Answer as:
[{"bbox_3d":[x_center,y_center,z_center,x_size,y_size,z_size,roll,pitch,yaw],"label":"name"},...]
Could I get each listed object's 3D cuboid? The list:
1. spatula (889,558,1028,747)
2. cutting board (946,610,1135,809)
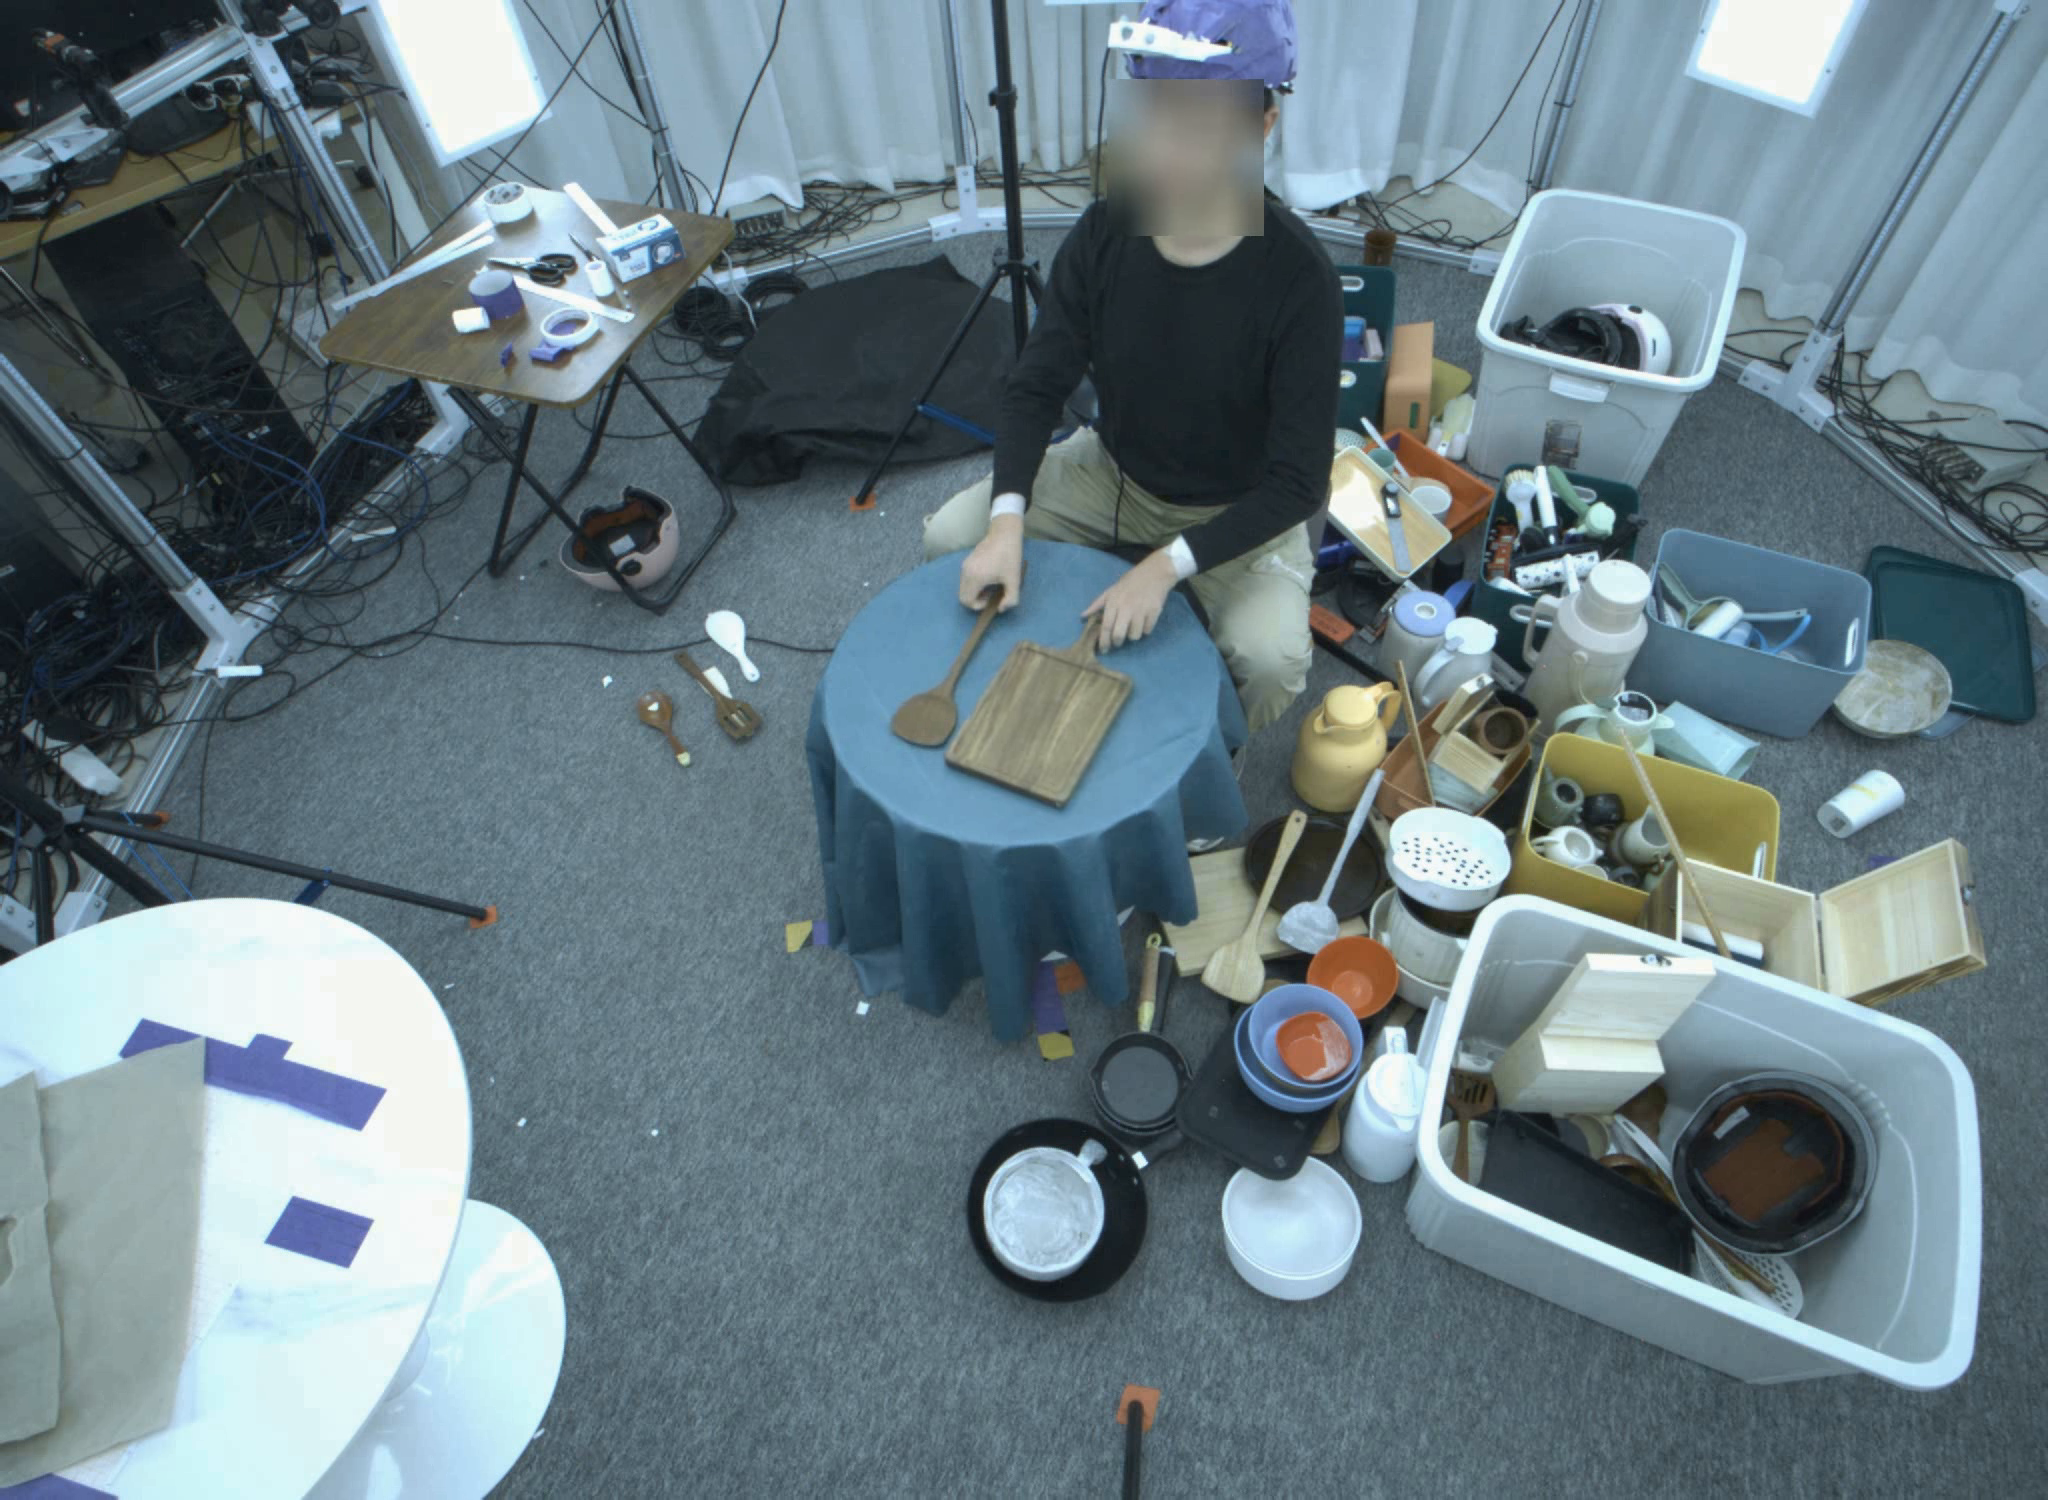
[{"bbox_3d":[-0.084,-0.160,1.886,0.095,0.016,0.386,21,62,15],"label":"spatula"},{"bbox_3d":[0.048,-0.080,1.830,0.198,0.023,0.352,21,58,16],"label":"cutting board"}]
